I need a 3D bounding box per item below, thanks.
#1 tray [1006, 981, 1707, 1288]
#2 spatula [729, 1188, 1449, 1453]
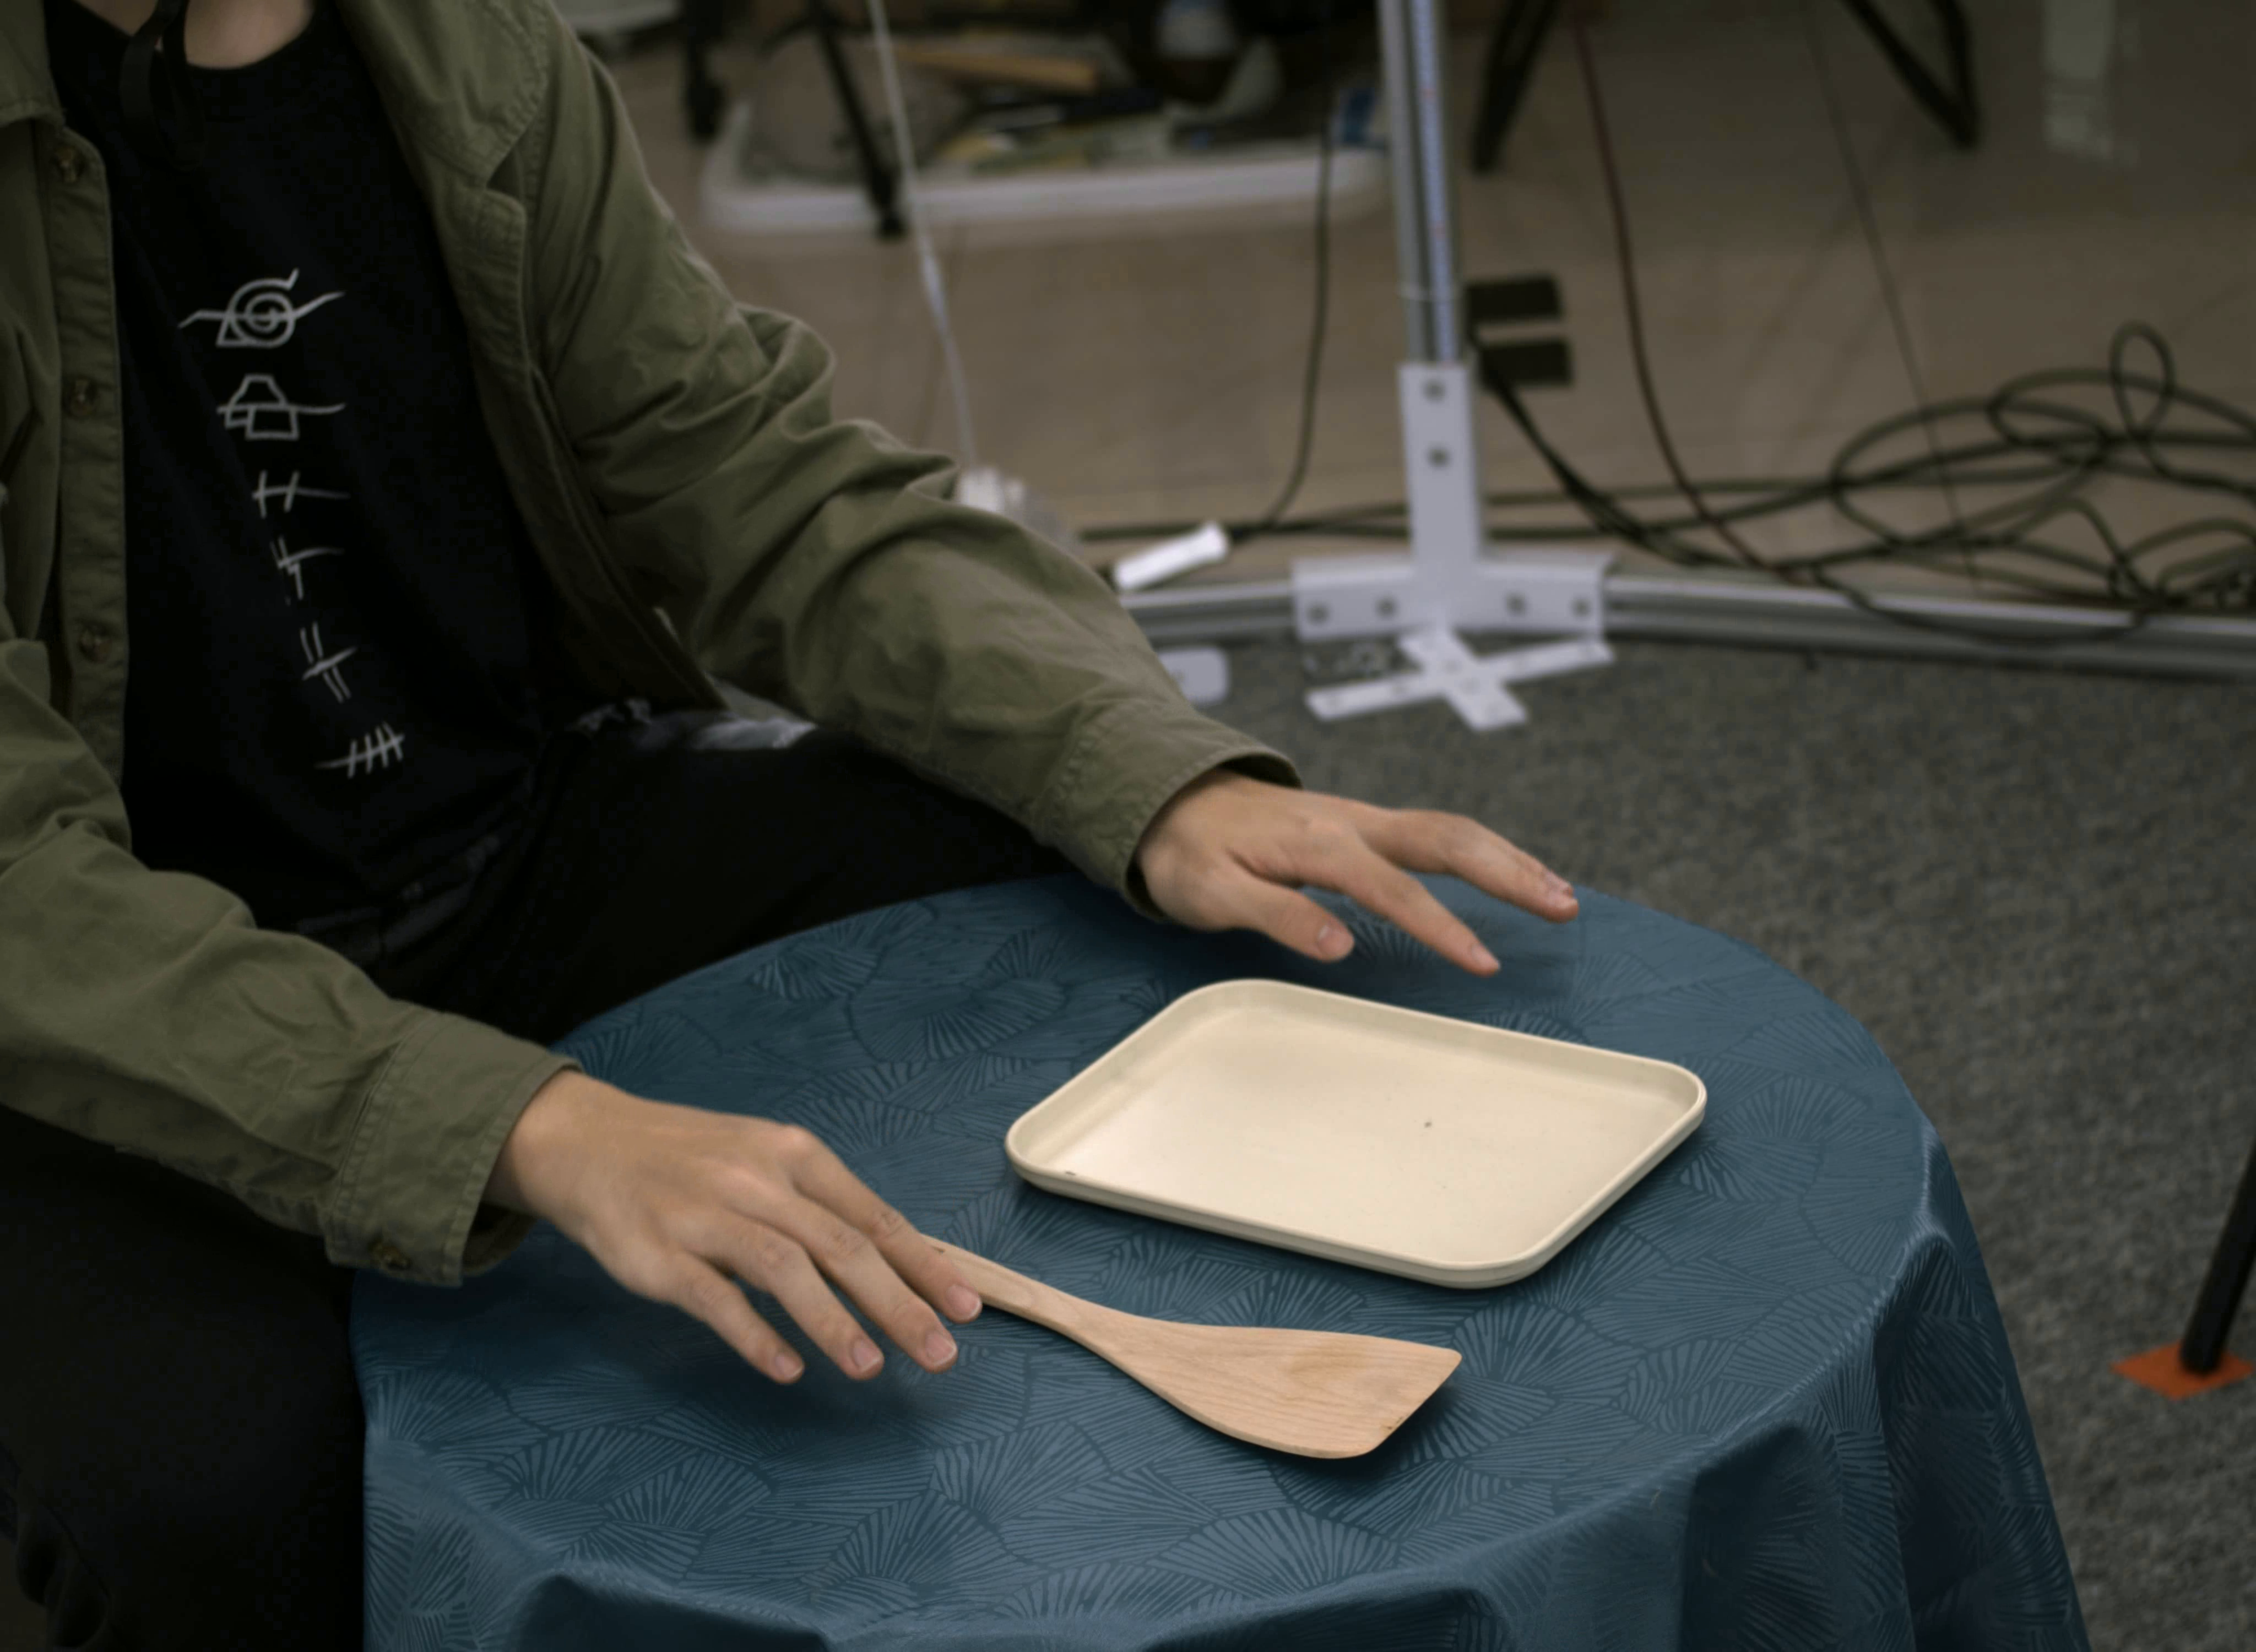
[{"bbox_3d":[0.086,0.117,2.157,0.238,0.018,0.169,11,30,34],"label":"tray"},{"bbox_3d":[-0.024,0.172,2.067,0.325,0.017,0.079,15,32,37],"label":"spatula"}]
